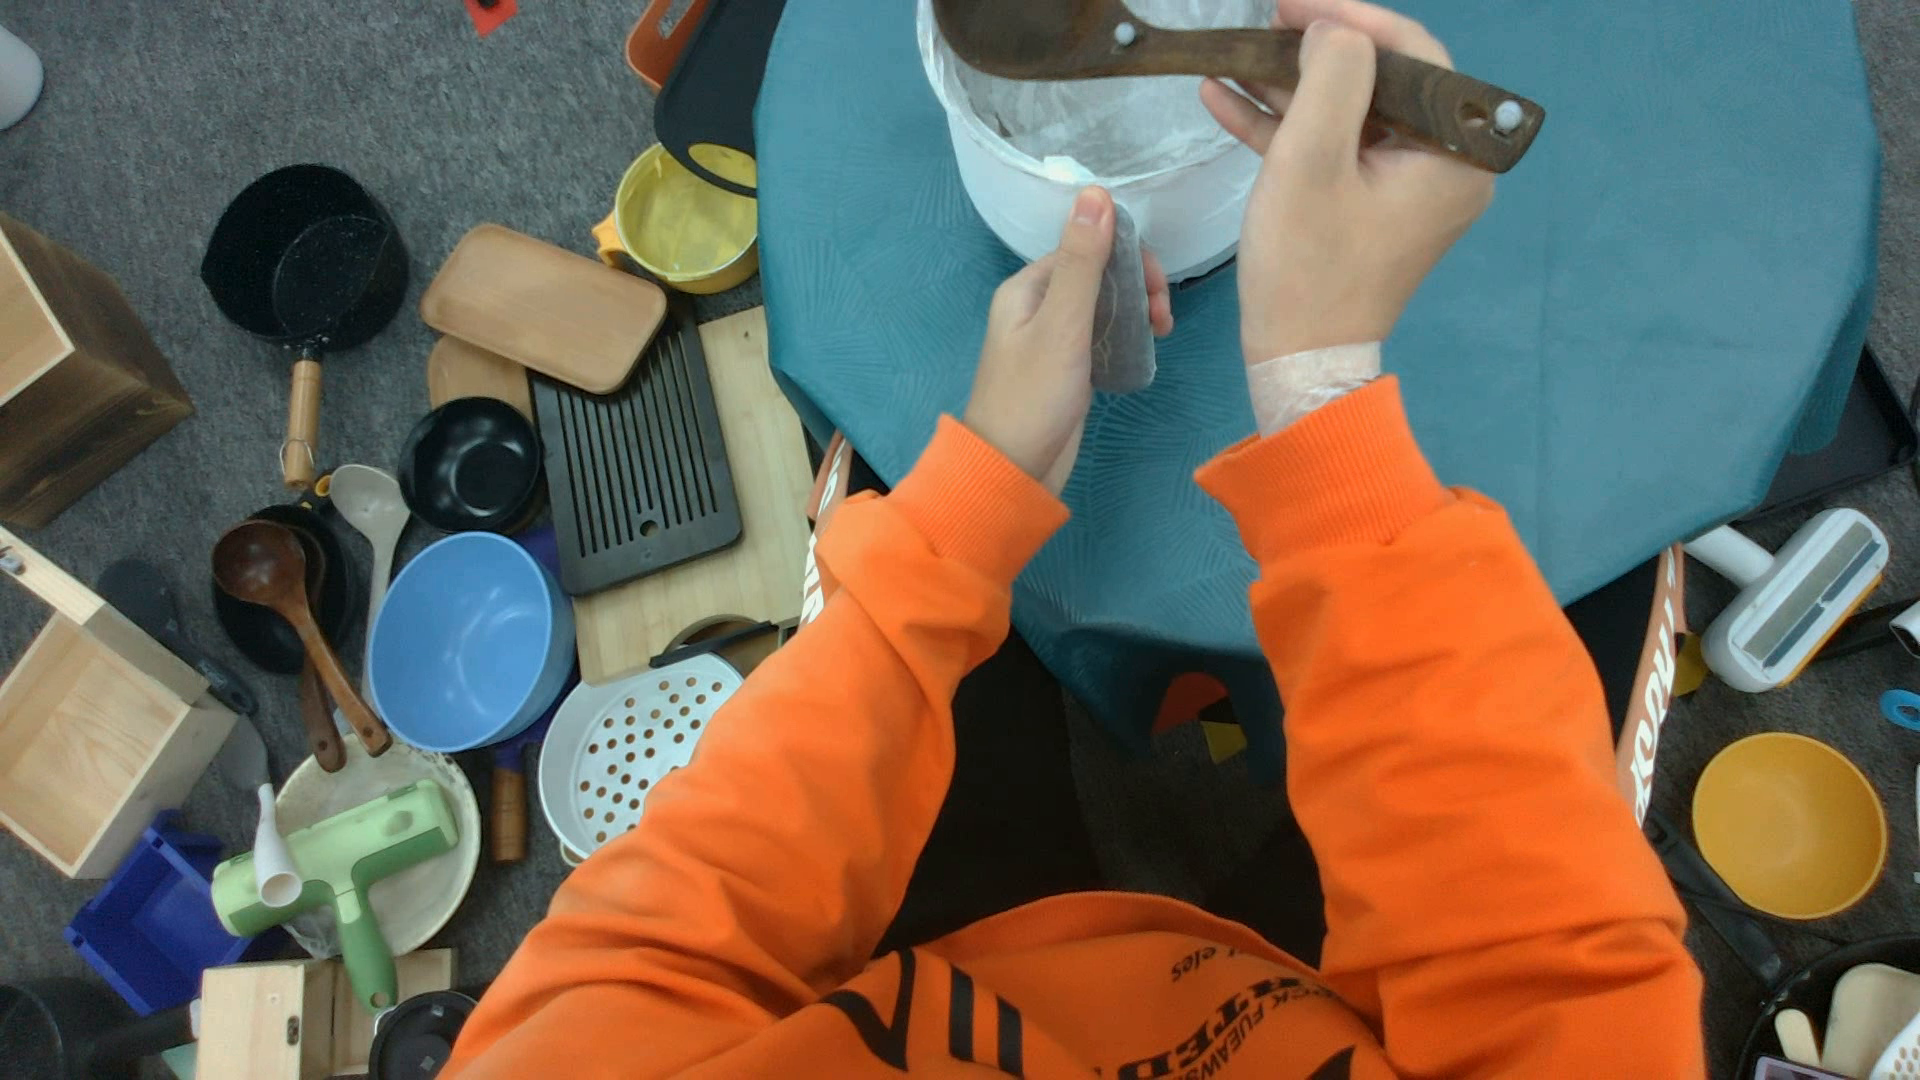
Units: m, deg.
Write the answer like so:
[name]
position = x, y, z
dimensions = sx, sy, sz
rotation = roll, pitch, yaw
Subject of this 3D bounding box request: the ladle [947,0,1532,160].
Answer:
[ladle]
position = 0.083, -0.199, 0.507
dimensions = 0.076, 0.071, 0.274
rotation = -54, 41, 5

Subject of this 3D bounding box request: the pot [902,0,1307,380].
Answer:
[pot]
position = 0.071, -0.200, 0.656
dimensions = 0.178, 0.136, 0.234
rotation = 0, 78, 9
